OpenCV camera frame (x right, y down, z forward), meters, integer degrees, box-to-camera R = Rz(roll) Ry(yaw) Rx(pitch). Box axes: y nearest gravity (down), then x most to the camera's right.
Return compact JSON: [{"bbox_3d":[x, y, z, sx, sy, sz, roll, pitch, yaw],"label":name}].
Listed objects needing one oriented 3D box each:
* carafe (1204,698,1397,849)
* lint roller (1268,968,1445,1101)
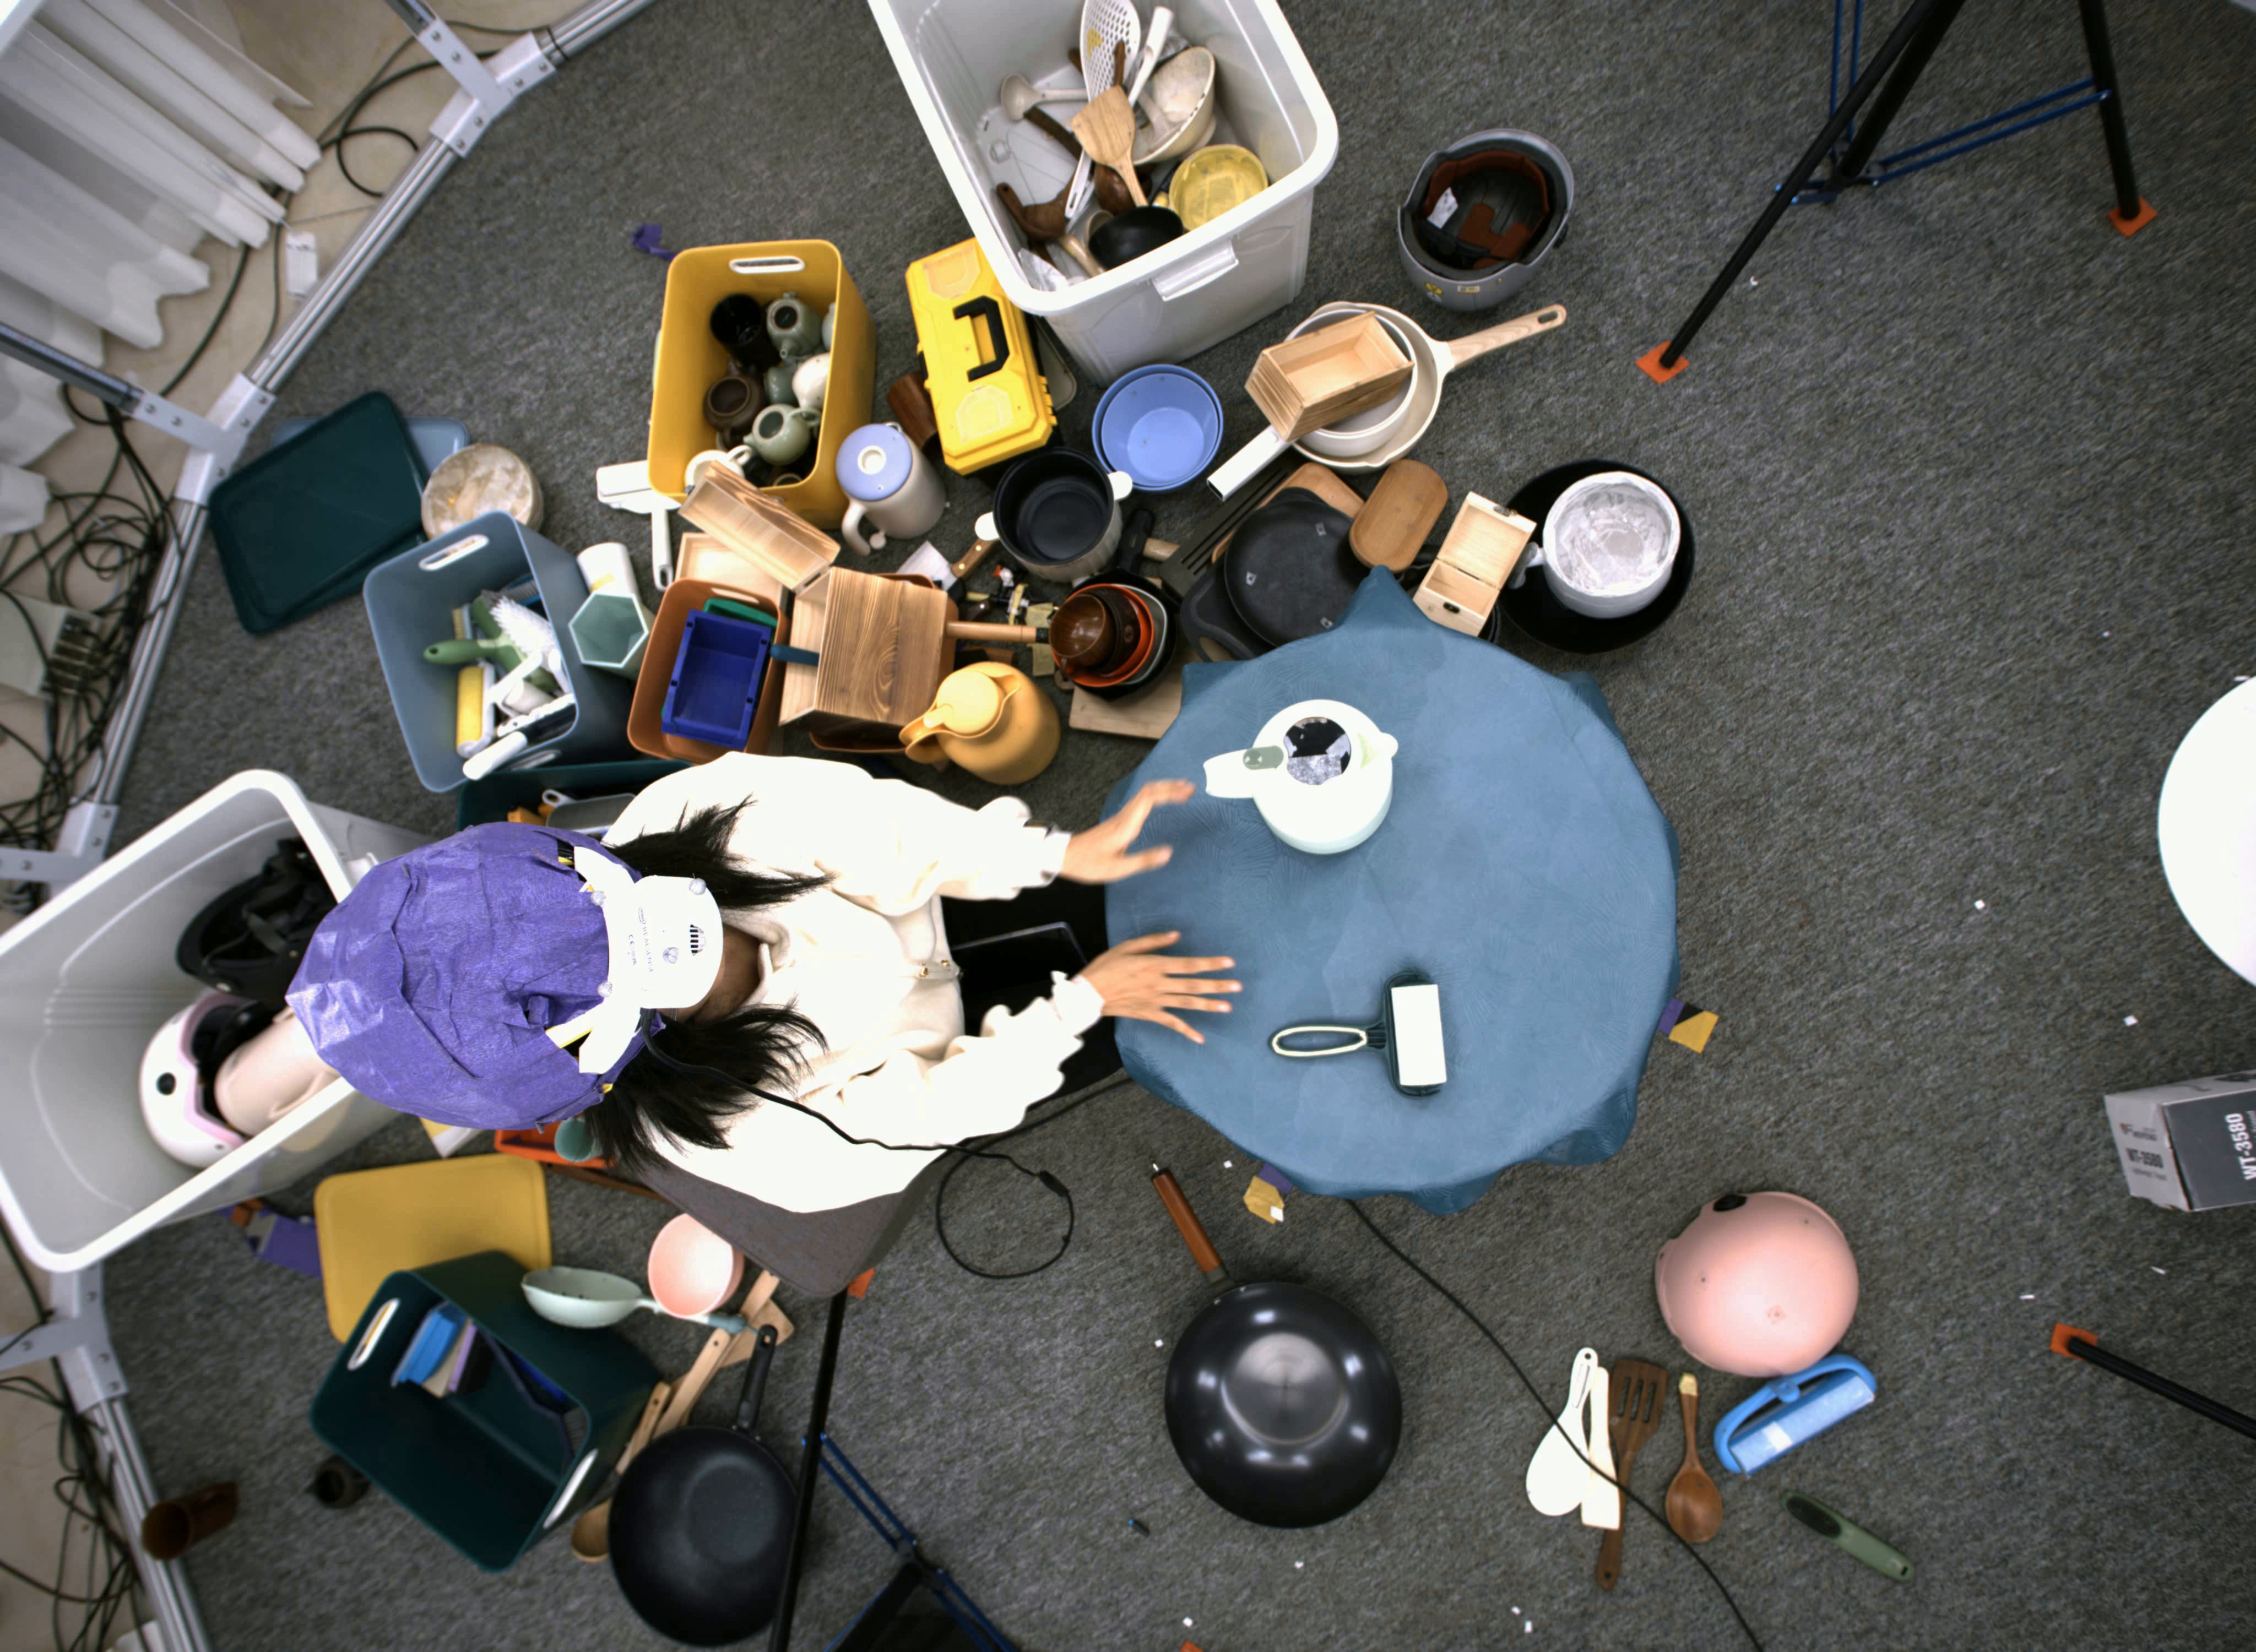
[{"bbox_3d":[0.175,-0.055,1.359,0.188,0.256,0.143,-7,85,13],"label":"carafe"},{"bbox_3d":[0.234,0.218,1.434,0.181,0.048,0.133,-5,85,10],"label":"lint roller"}]
